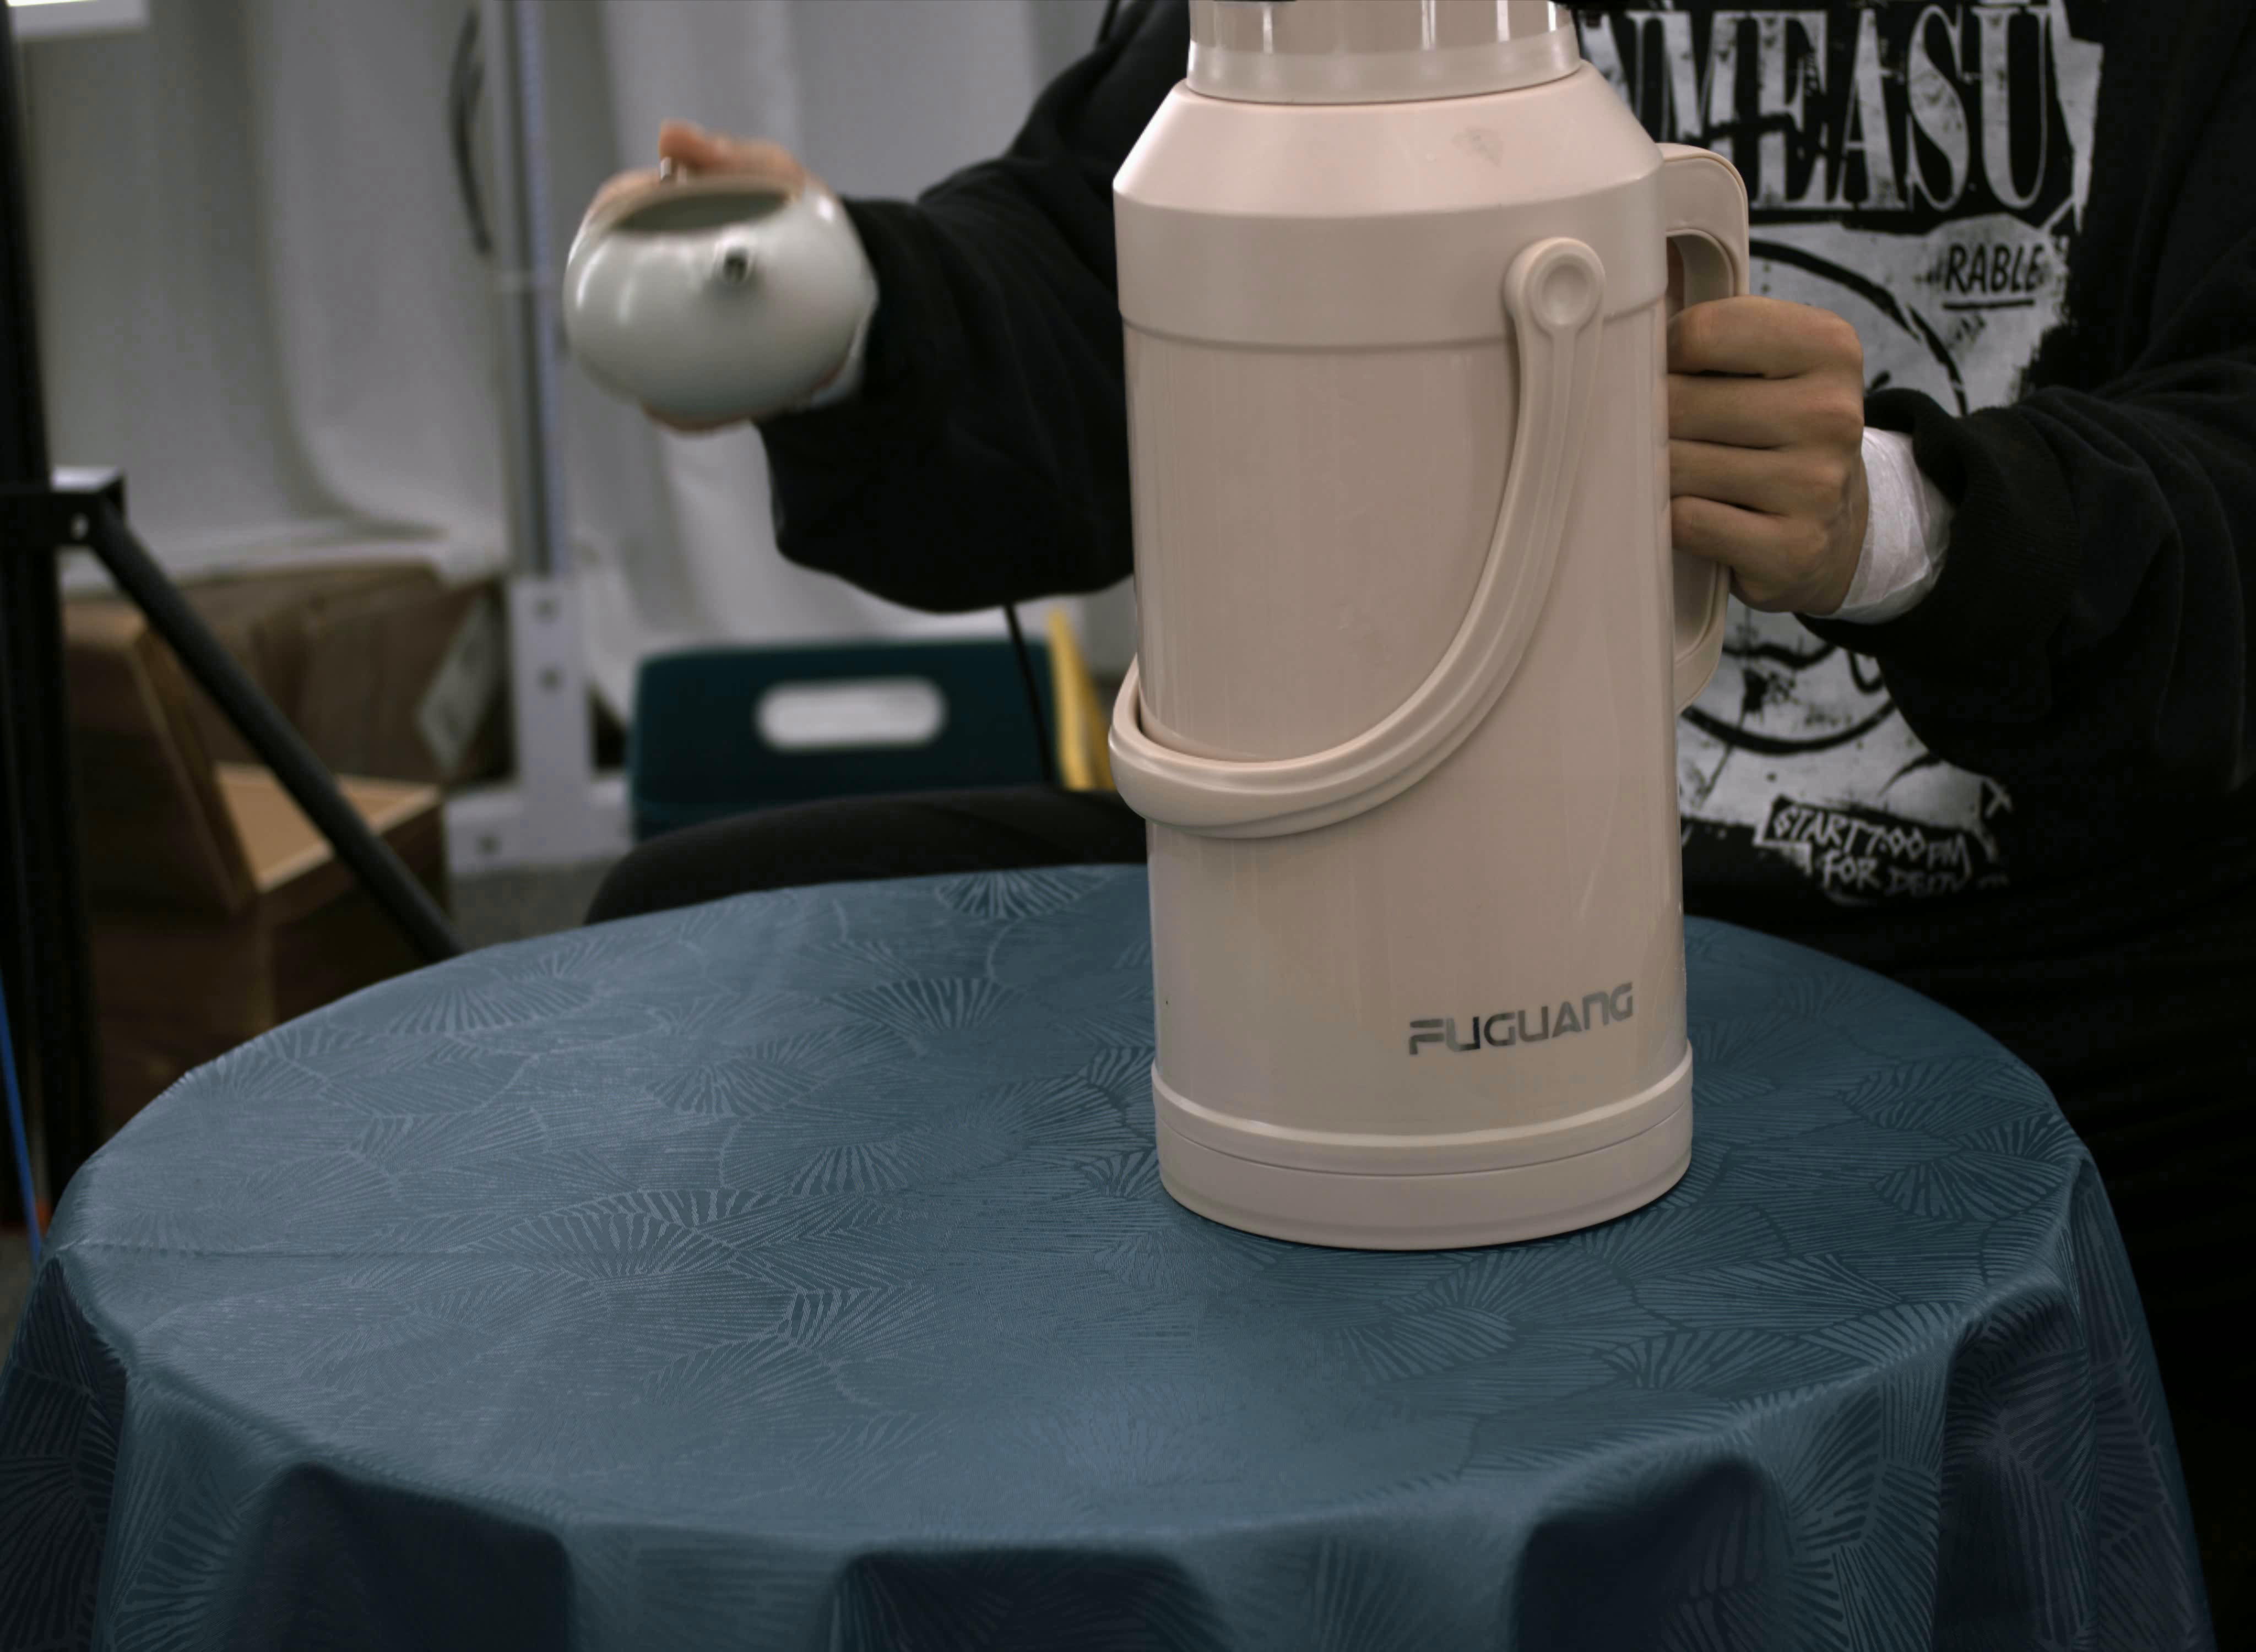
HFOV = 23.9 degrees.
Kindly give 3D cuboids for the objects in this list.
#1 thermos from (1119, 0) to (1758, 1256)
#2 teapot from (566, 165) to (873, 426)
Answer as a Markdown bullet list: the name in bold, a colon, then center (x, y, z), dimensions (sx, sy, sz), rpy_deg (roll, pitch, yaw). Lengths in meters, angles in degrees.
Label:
- **thermos**: center (0.094, -0.093, 1.522), dimensions (0.202, 0.406, 0.179), rpy_deg (-11, 15, -28)
- **teapot**: center (-0.124, -0.159, 1.597), dimensions (0.091, 0.059, 0.130), rpy_deg (-14, 25, -10)
